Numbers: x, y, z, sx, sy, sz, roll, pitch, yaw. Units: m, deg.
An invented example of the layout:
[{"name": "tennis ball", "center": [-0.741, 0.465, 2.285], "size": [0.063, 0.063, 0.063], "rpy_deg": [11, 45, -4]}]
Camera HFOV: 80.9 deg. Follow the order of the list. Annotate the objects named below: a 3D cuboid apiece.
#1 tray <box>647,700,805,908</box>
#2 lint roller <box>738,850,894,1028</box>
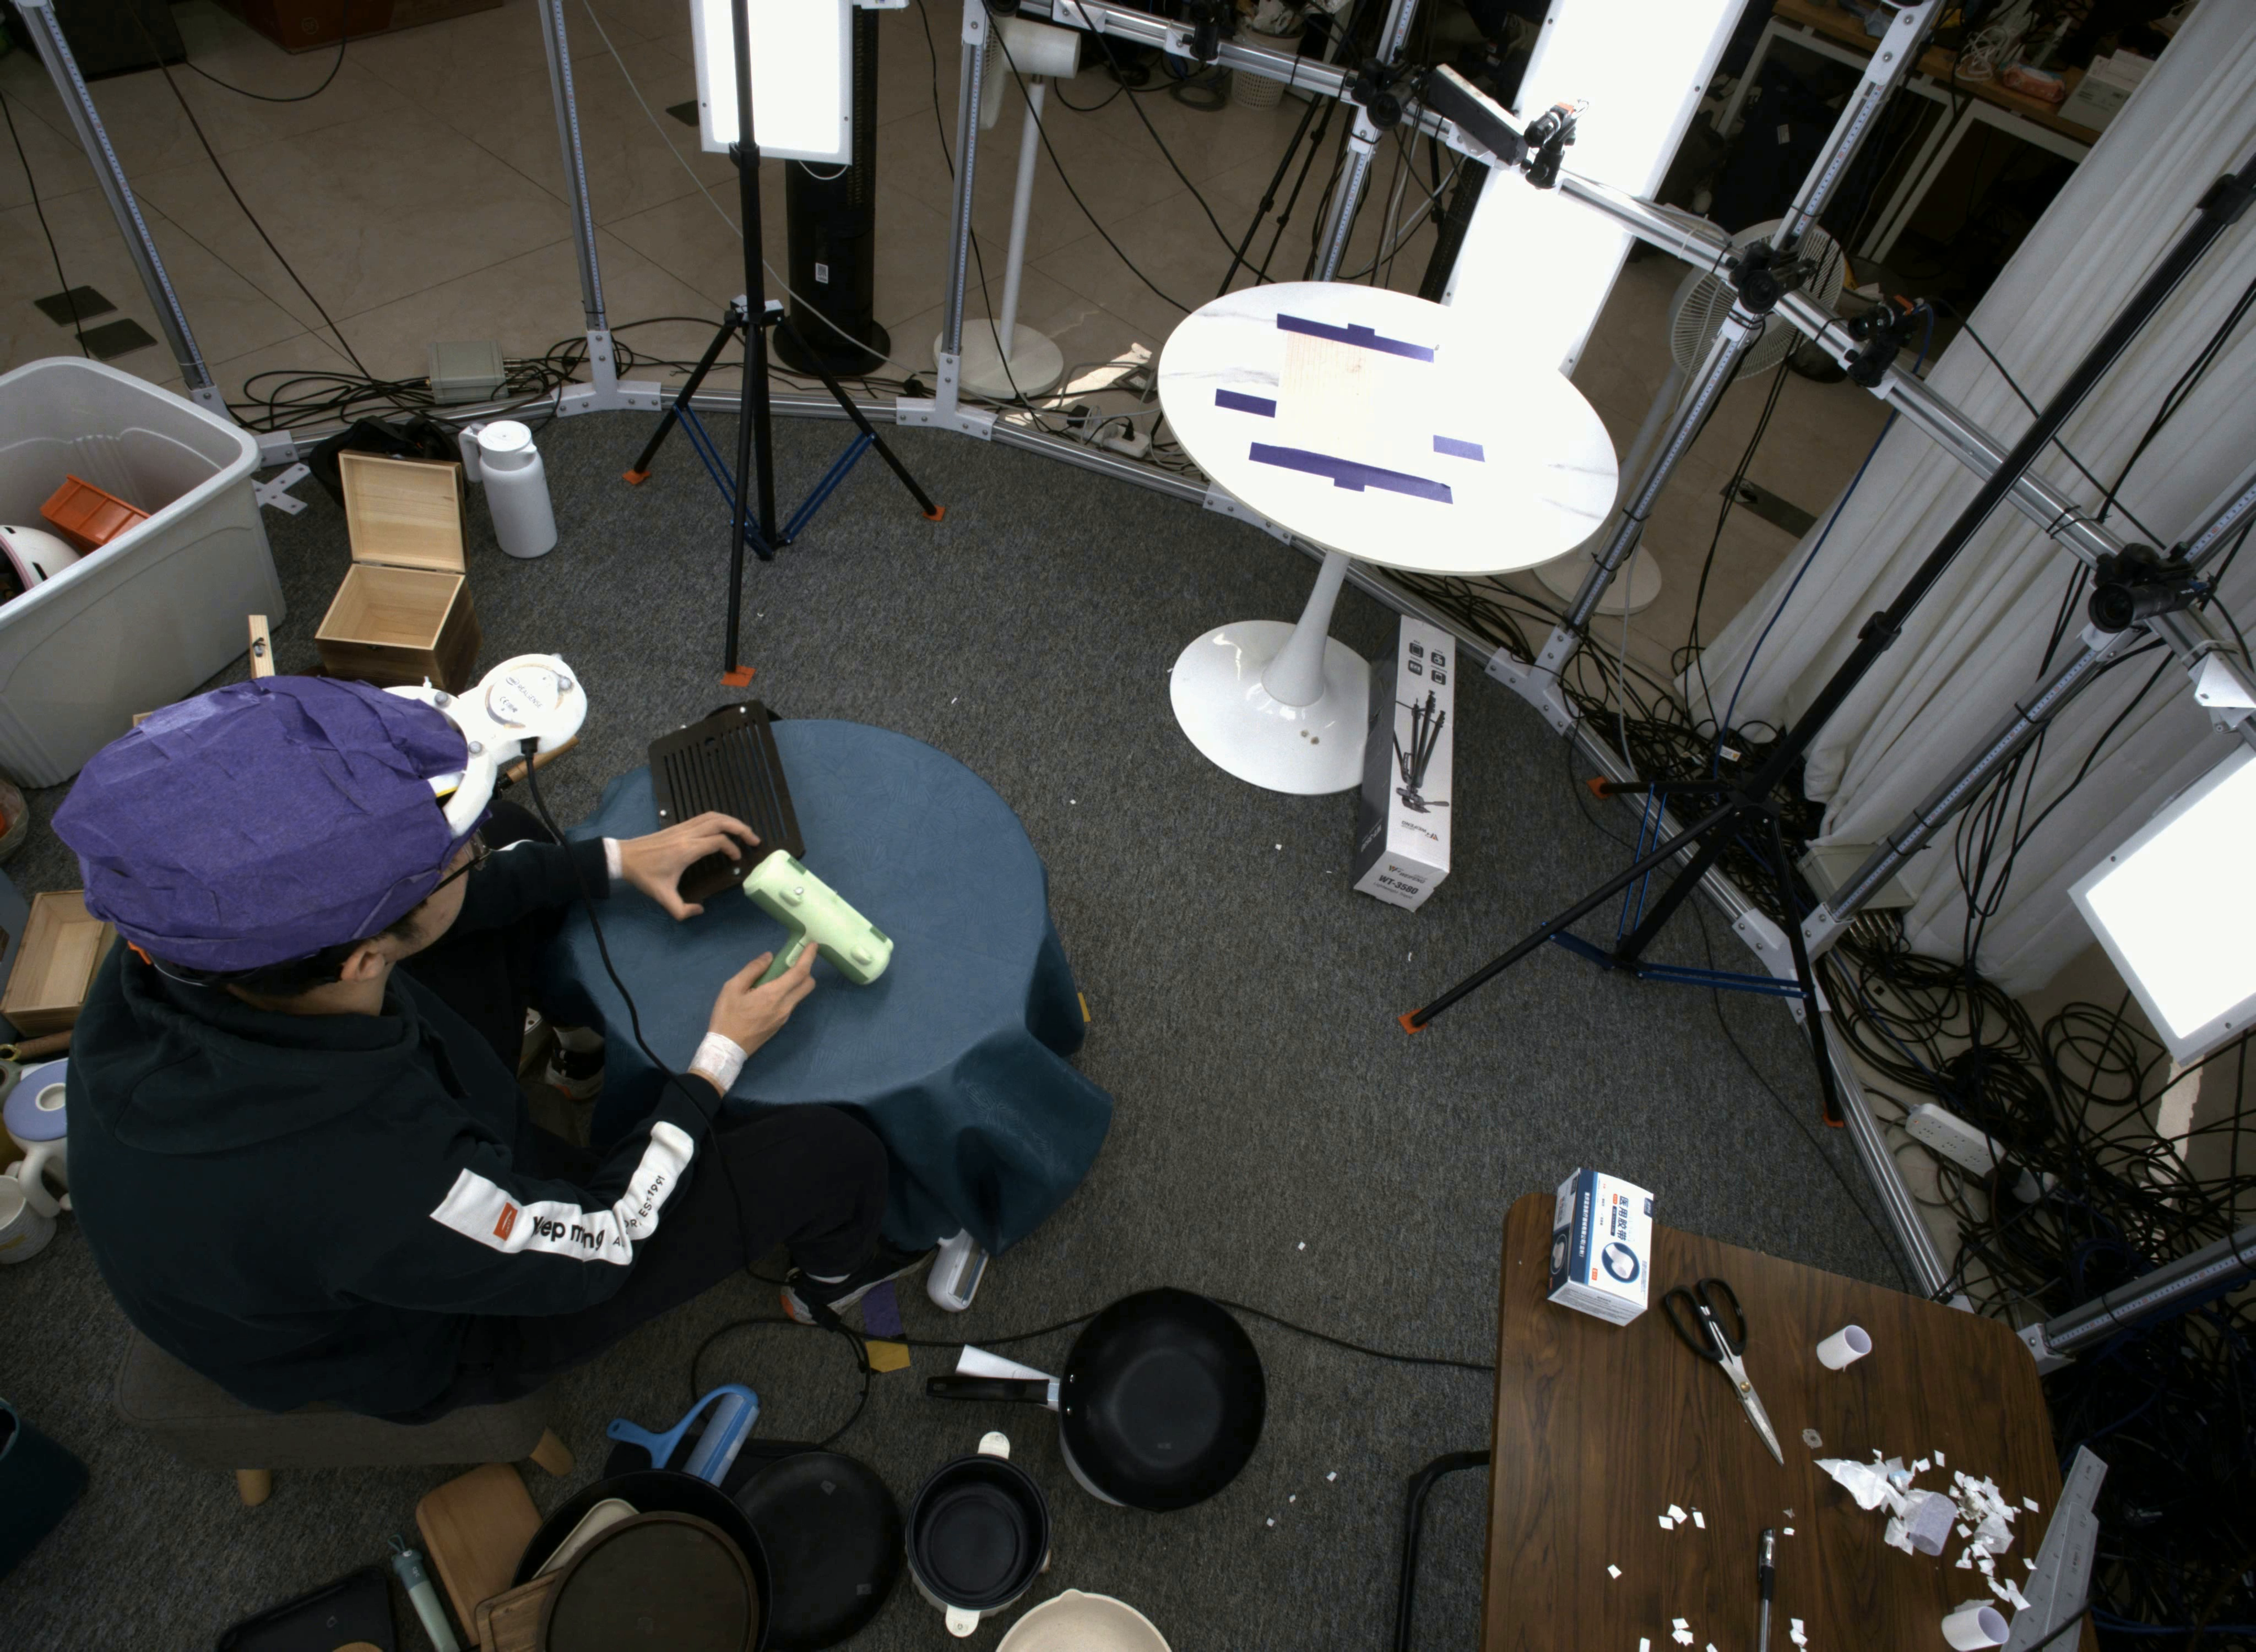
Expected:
[{"name": "tray", "center": [-0.526, -0.035, 1.676], "size": [0.169, 0.019, 0.297], "rpy_deg": [-23, 54, -7]}, {"name": "lint roller", "center": [-0.391, 0.156, 1.524], "size": [0.205, 0.080, 0.182], "rpy_deg": [45, 59, -27]}]
